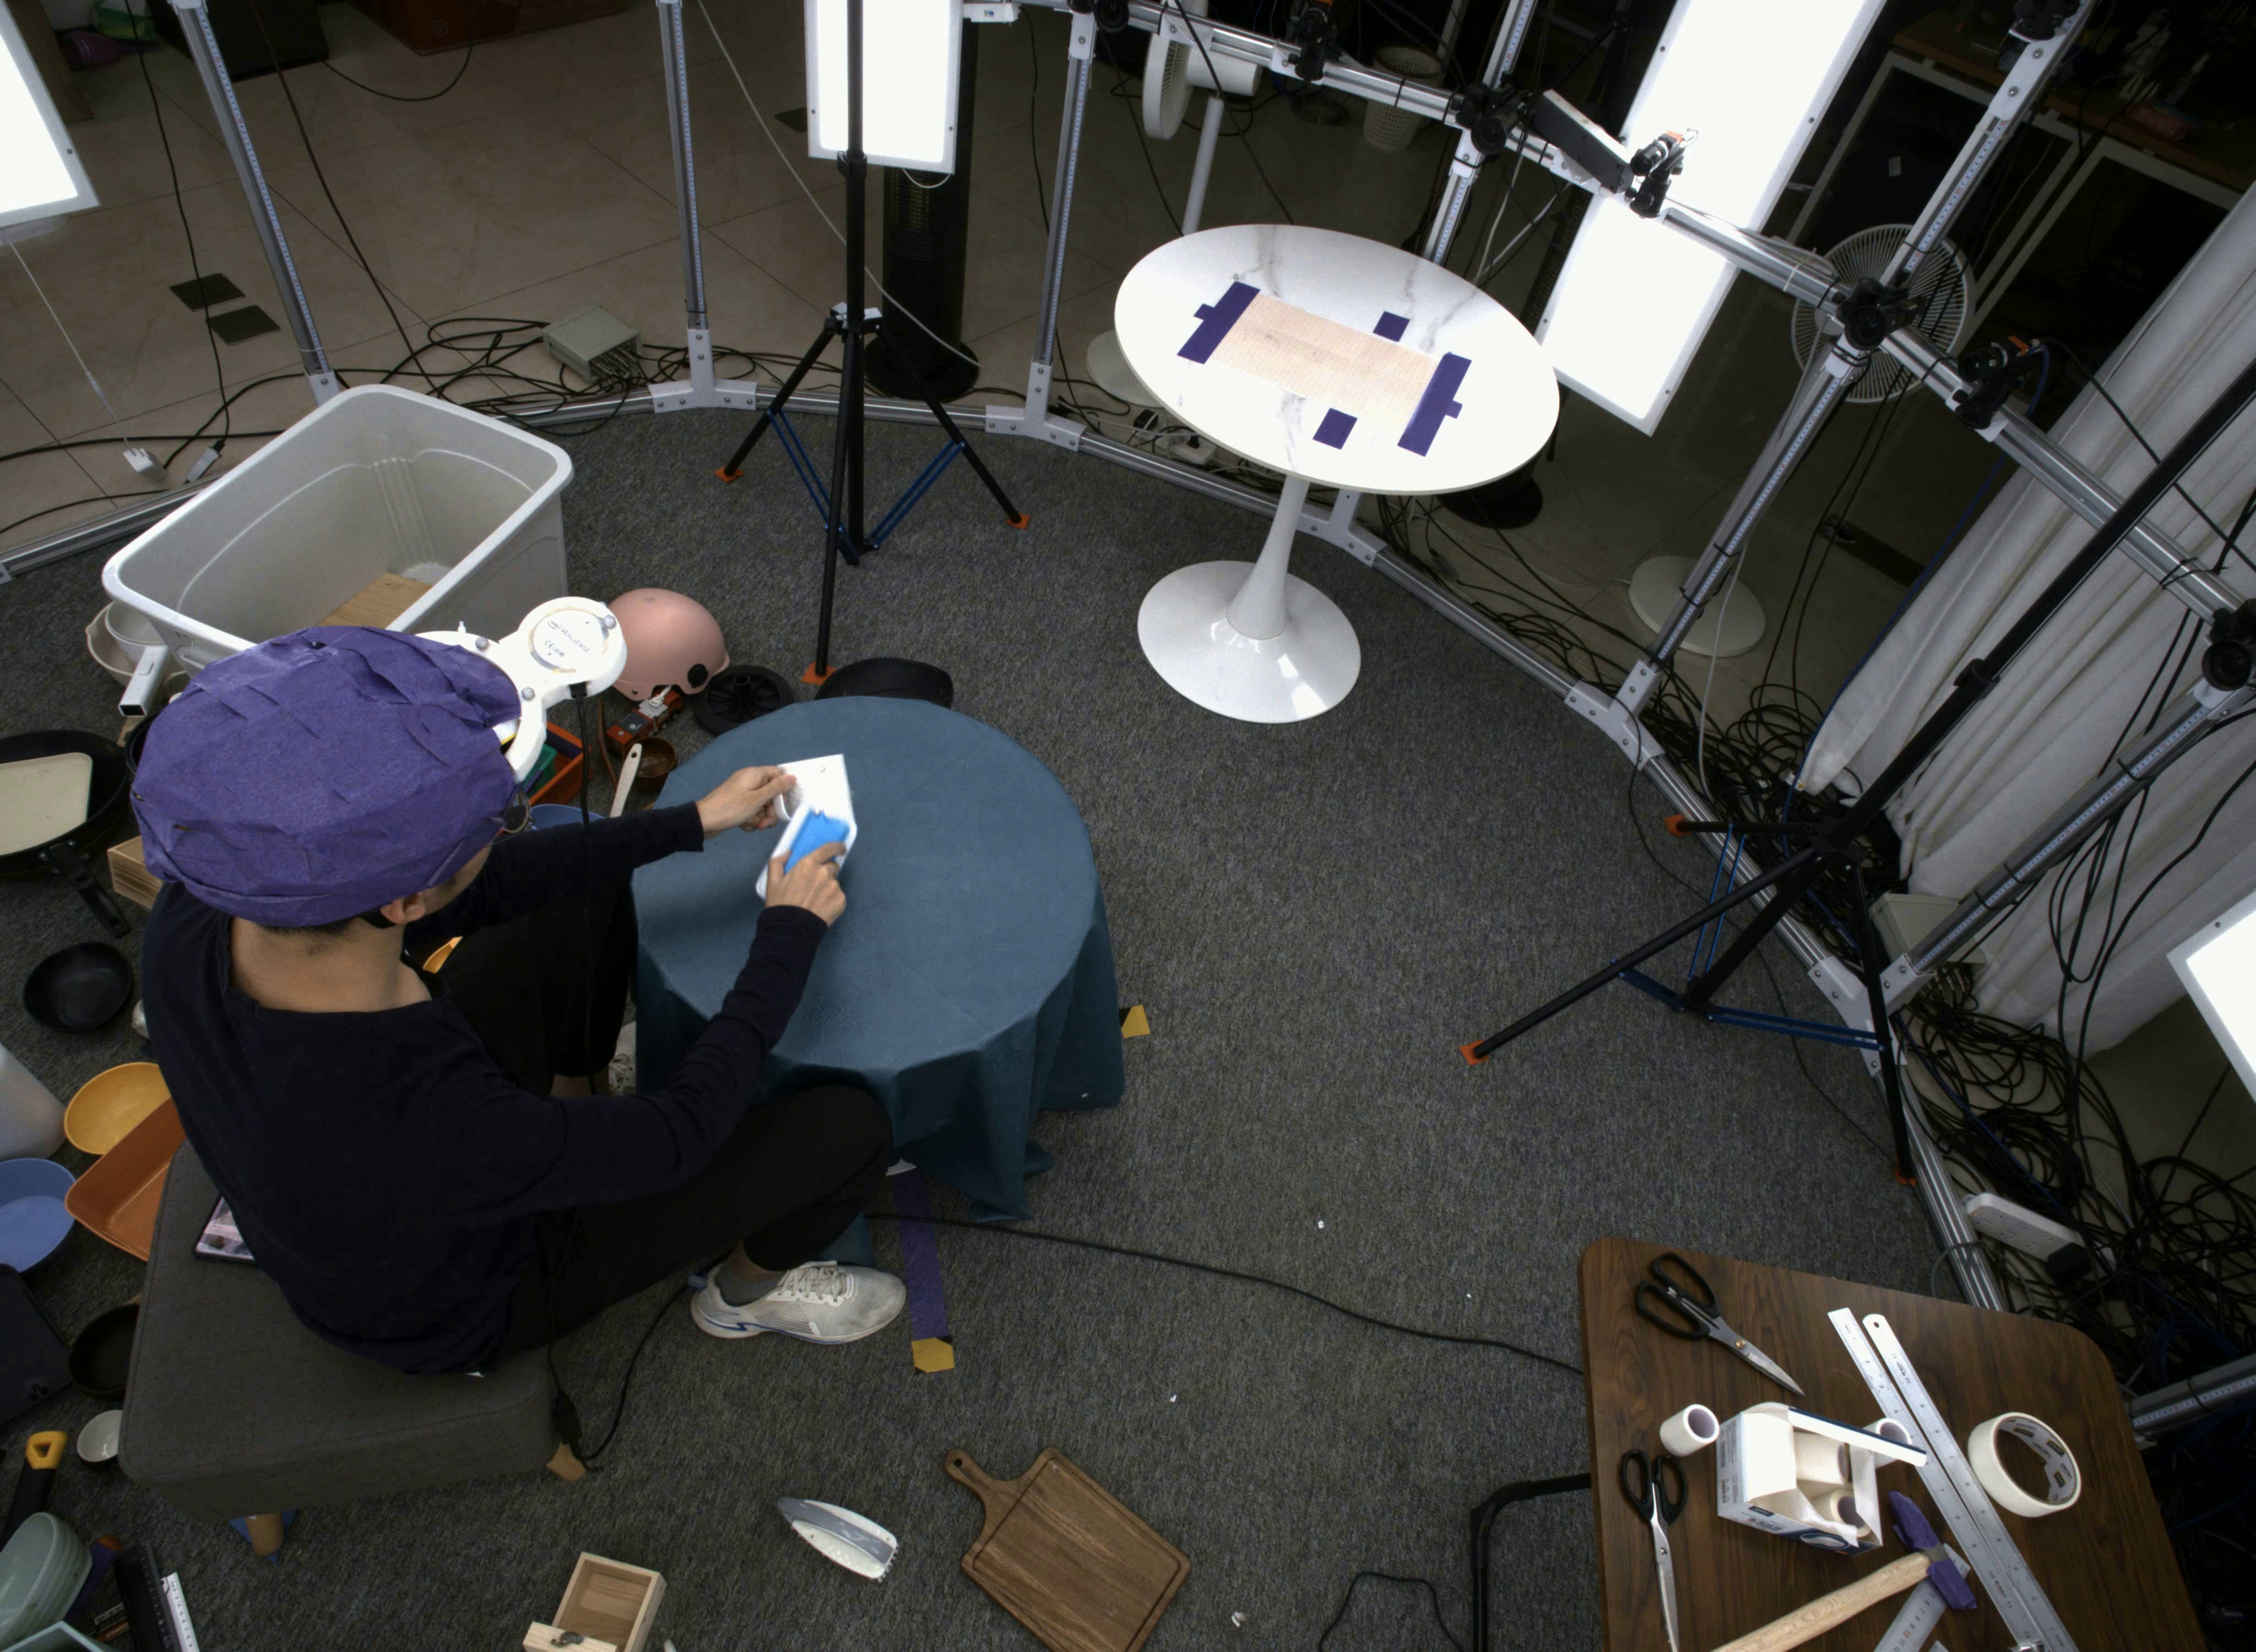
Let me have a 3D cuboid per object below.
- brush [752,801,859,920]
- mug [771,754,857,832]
[{"bbox_3d":[-0.386,0.034,1.561,0.084,0.056,0.143,30,64,-10],"label":"brush"},{"bbox_3d":[-0.400,-0.031,1.631,0.082,0.104,0.119,-7,6,25],"label":"mug"}]
